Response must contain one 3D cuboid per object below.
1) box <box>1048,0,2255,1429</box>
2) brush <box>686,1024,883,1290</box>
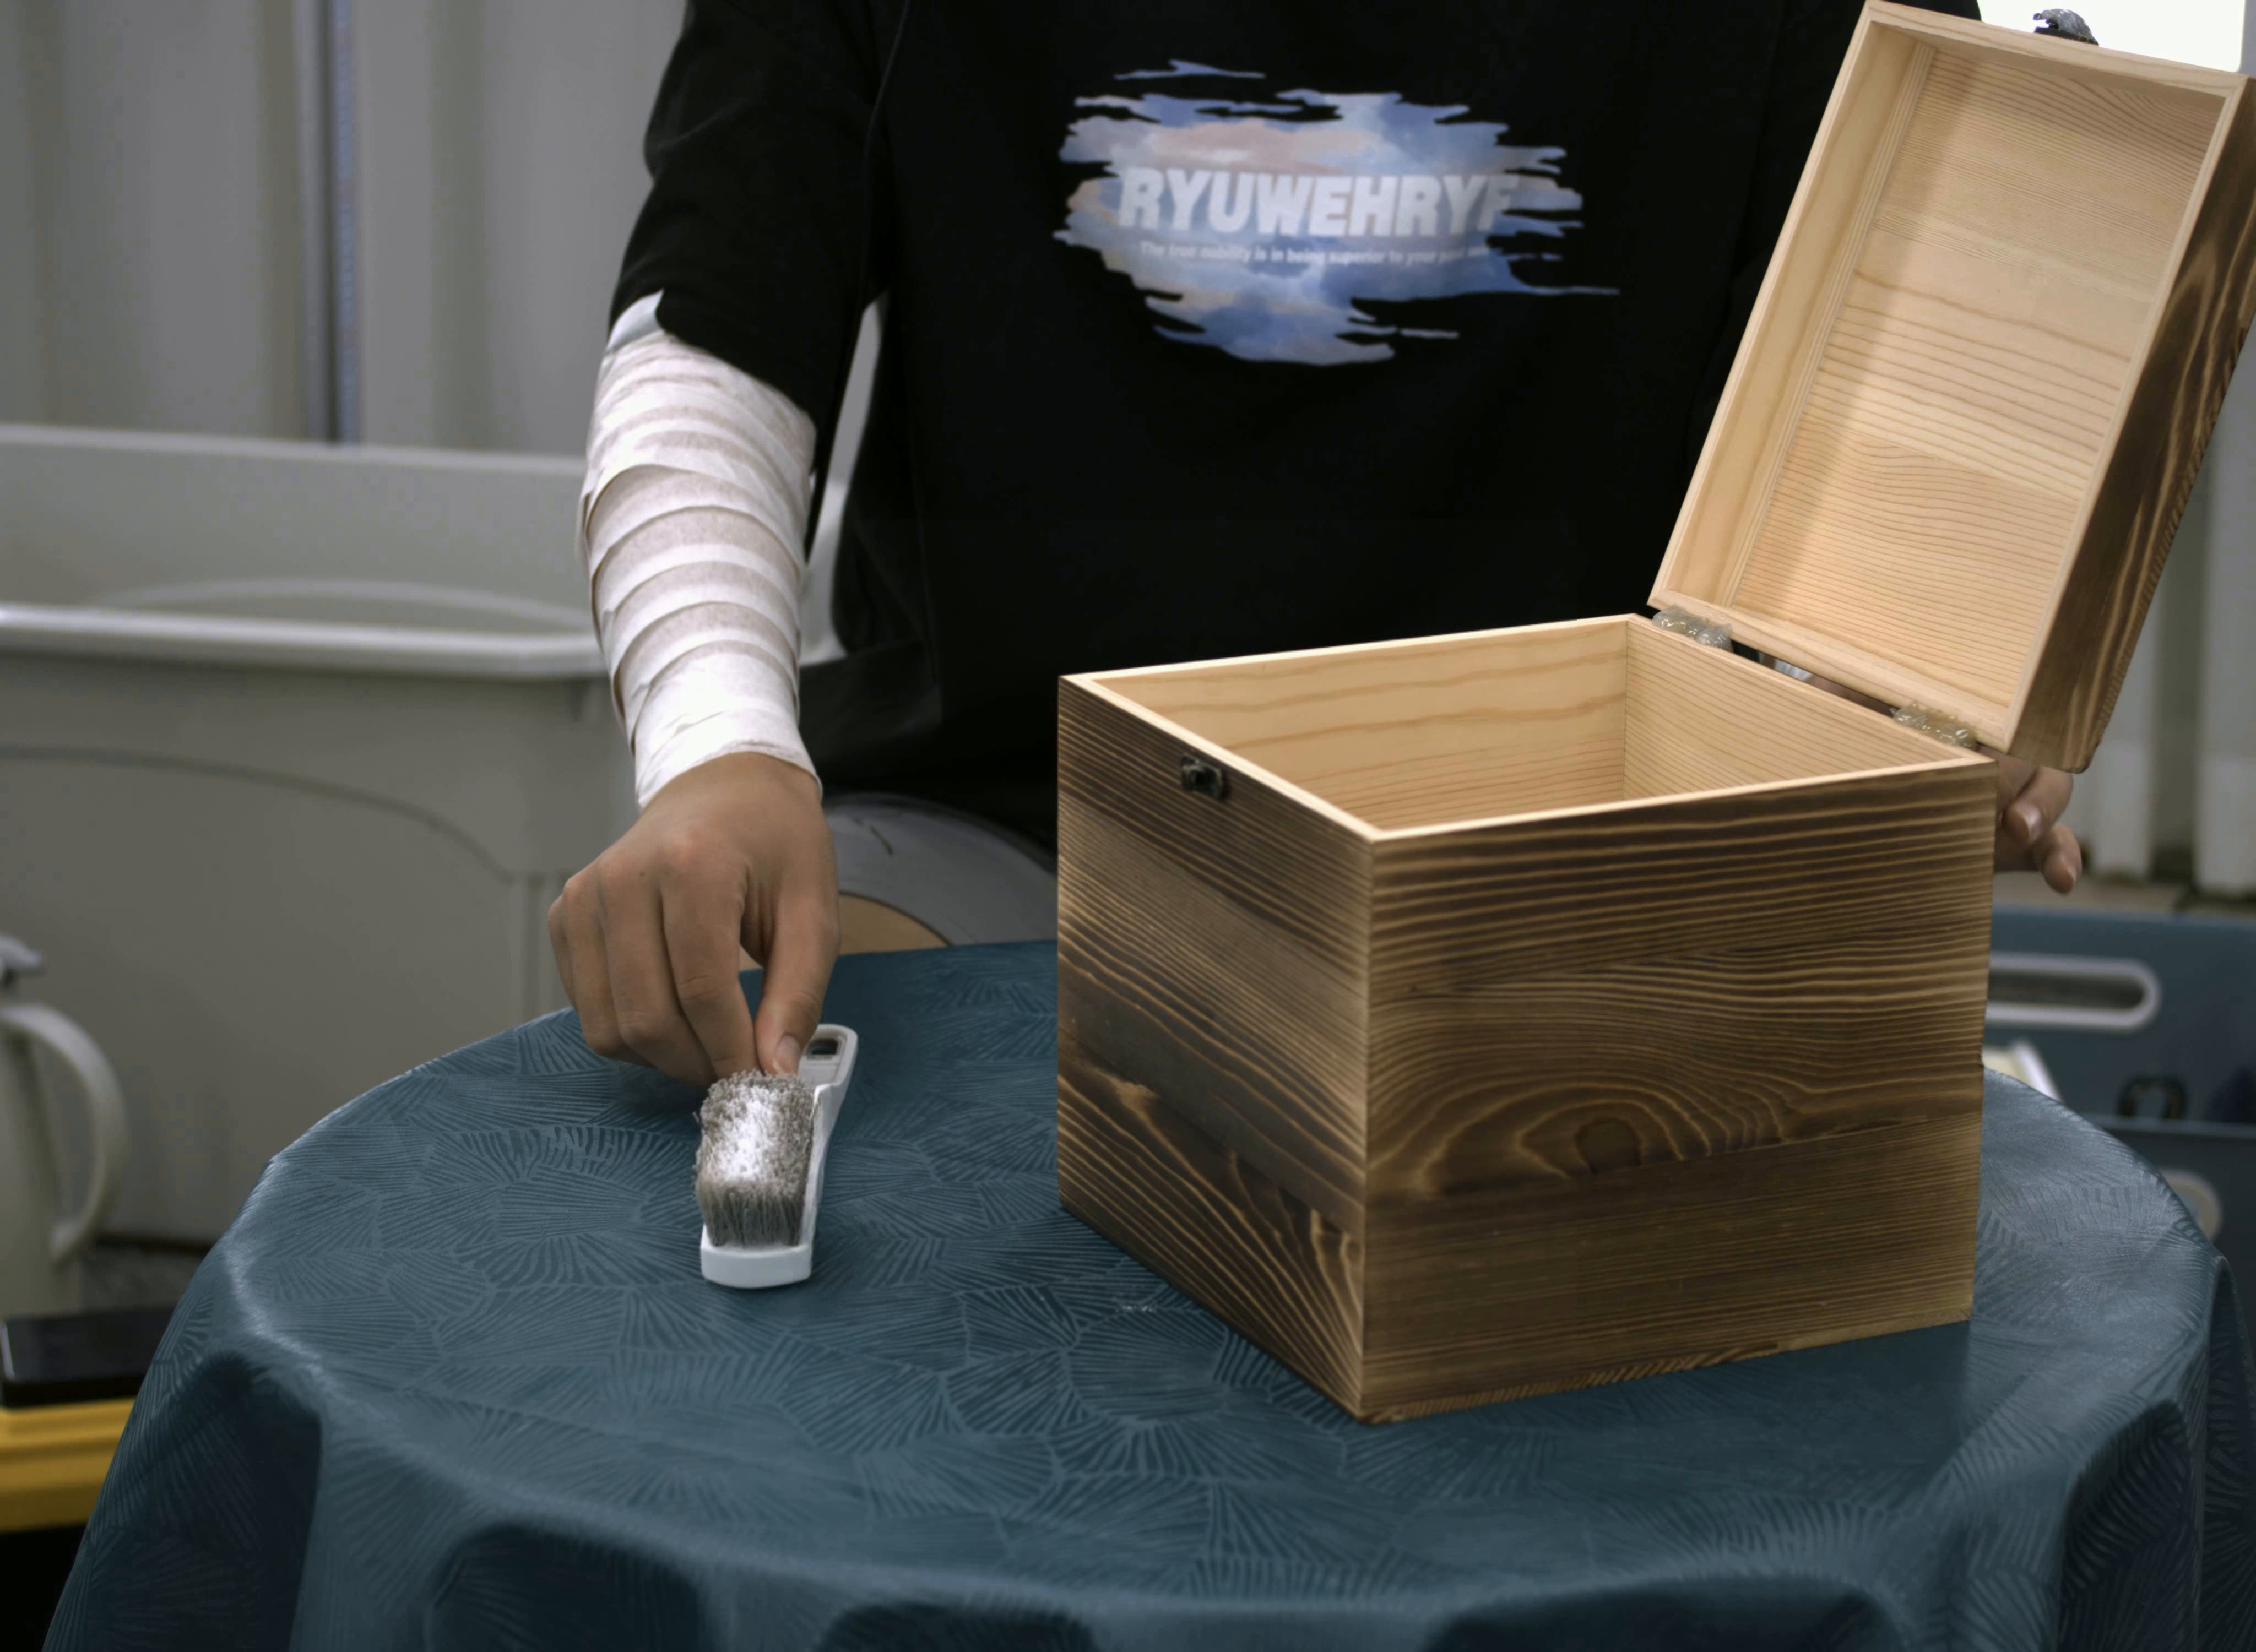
[{"bbox_3d":[0.156,-0.052,1.539,0.323,0.378,0.206,-7,17,-25],"label":"box"},{"bbox_3d":[-0.103,0.082,1.634,0.034,0.050,0.242,-2,15,6],"label":"brush"}]
